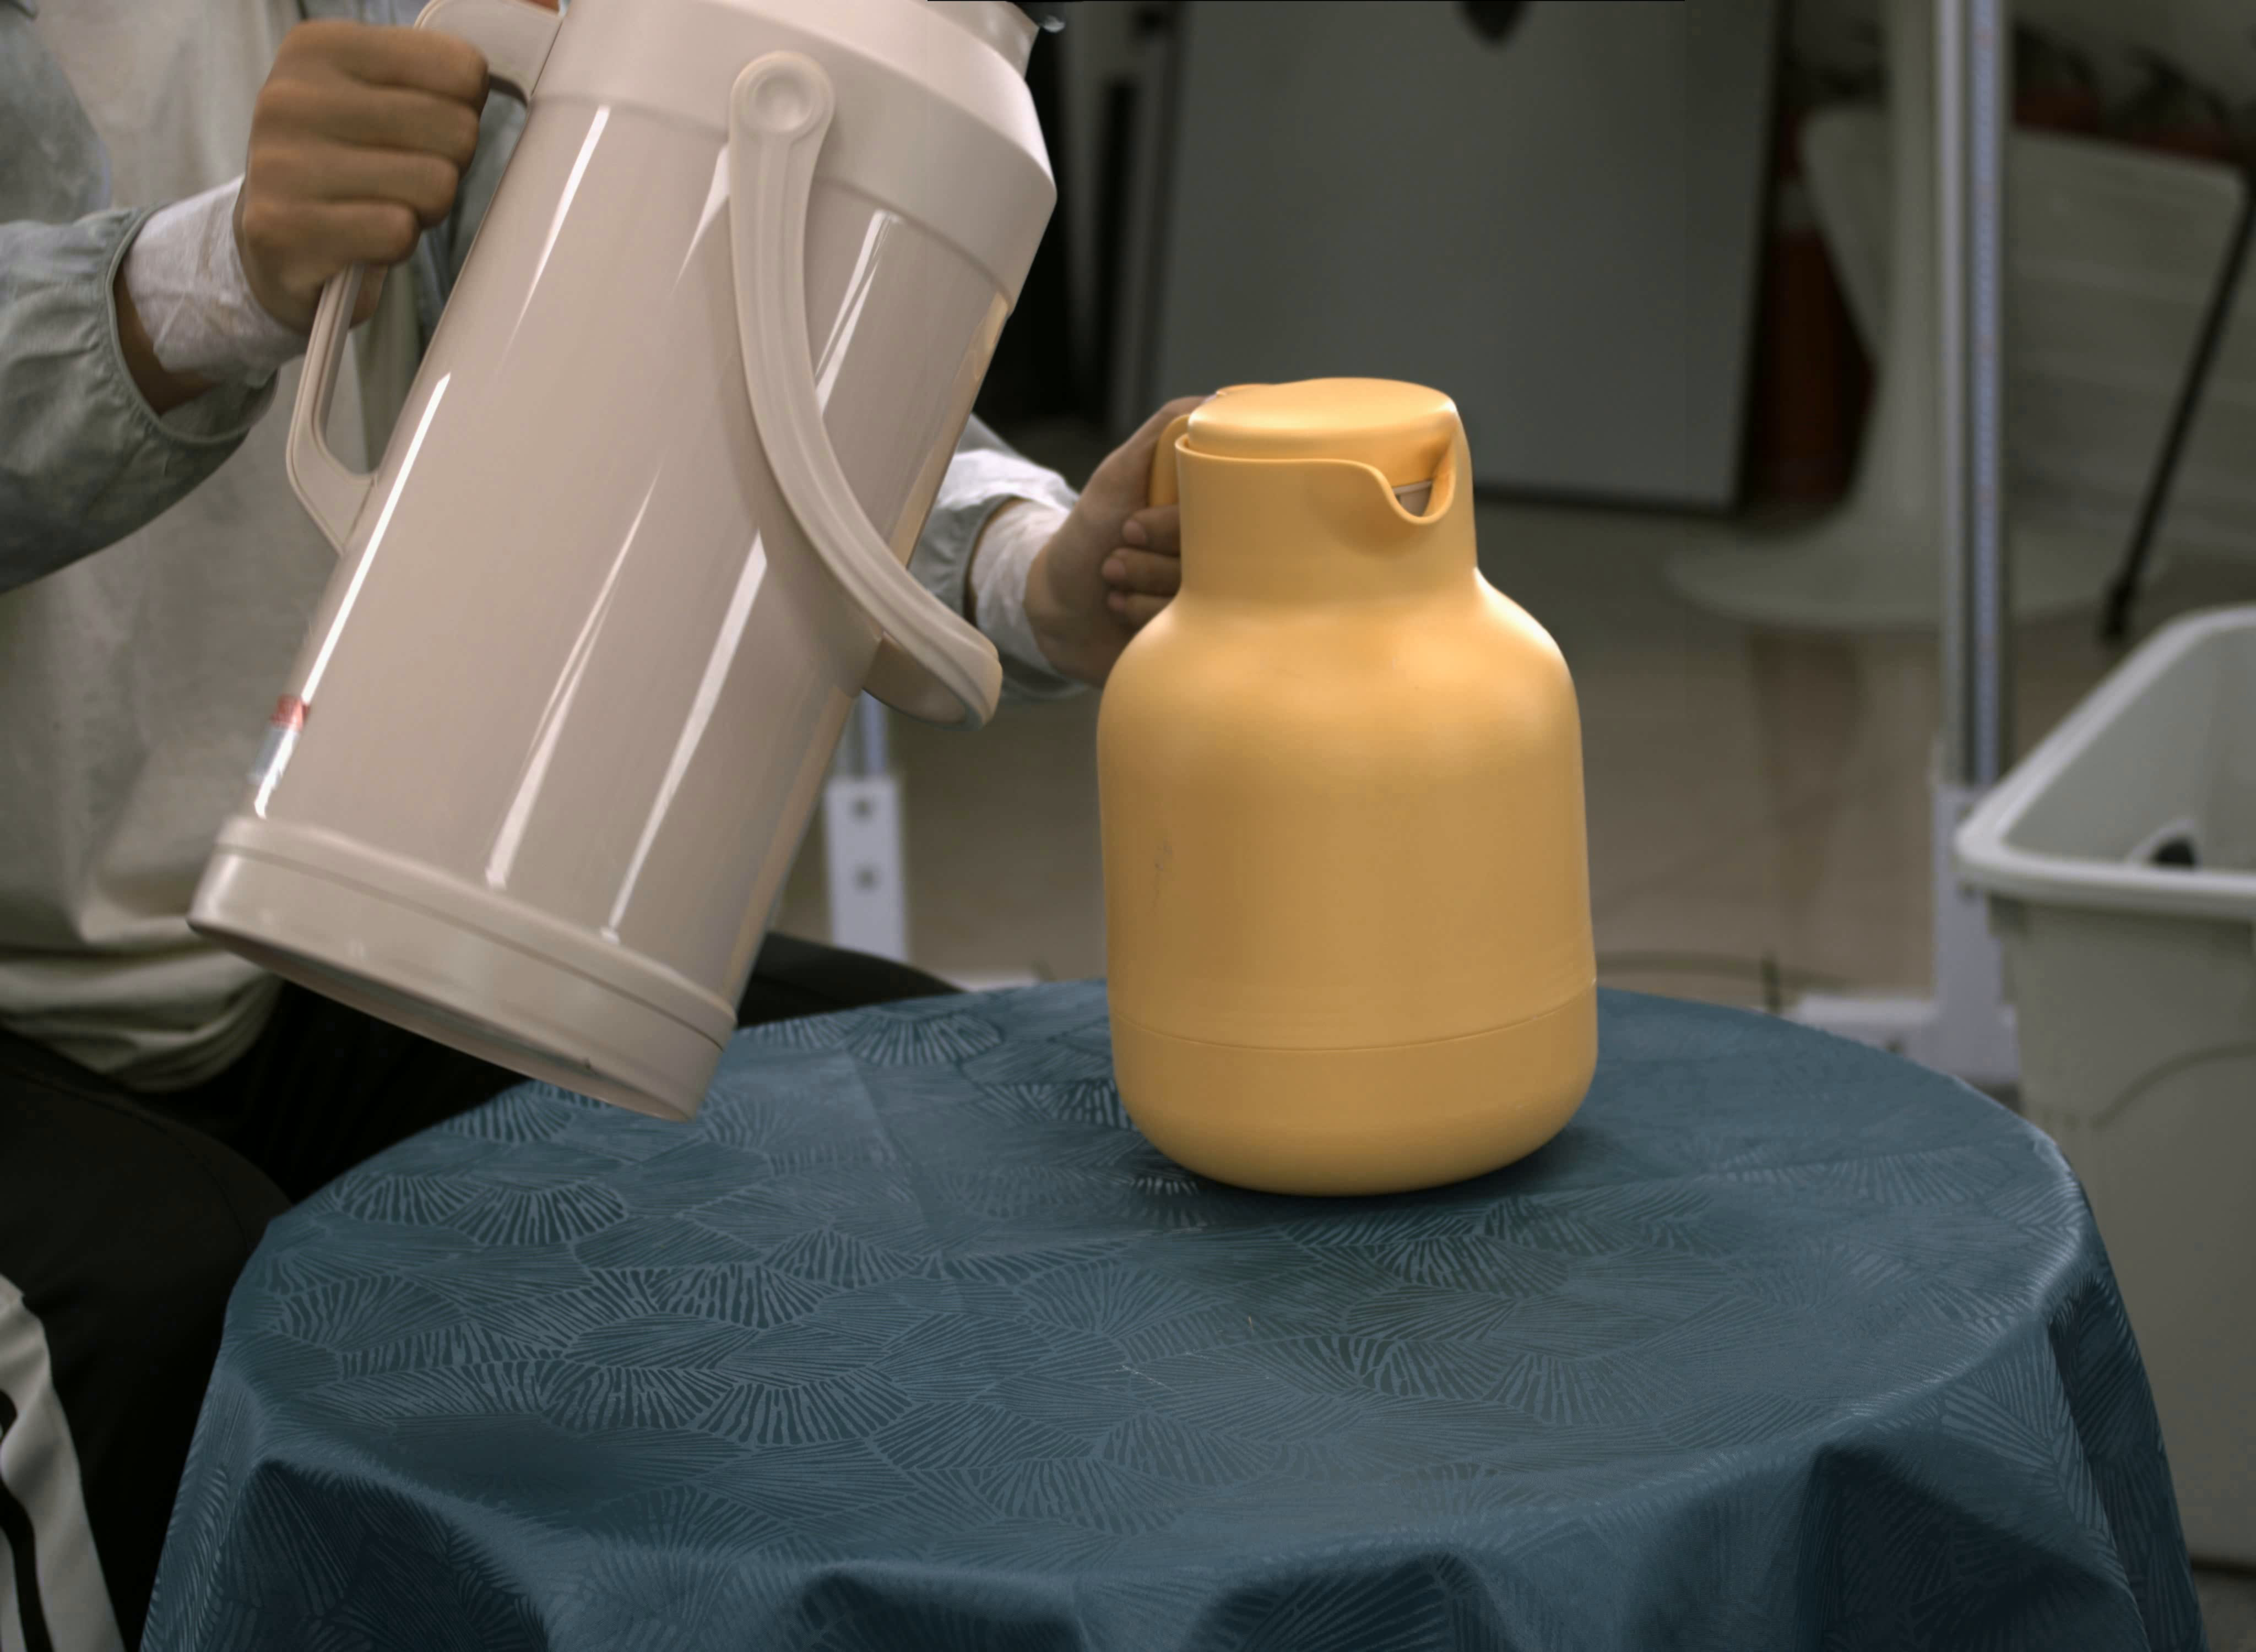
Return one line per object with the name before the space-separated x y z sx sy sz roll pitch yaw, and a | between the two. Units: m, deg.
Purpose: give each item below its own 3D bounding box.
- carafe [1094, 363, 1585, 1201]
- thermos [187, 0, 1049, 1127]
carafe | 0.062 -0.022 1.789 0.160 0.263 0.204 -6 14 -20
thermos | -0.142 -0.132 1.587 0.205 0.410 0.175 21 -7 2
